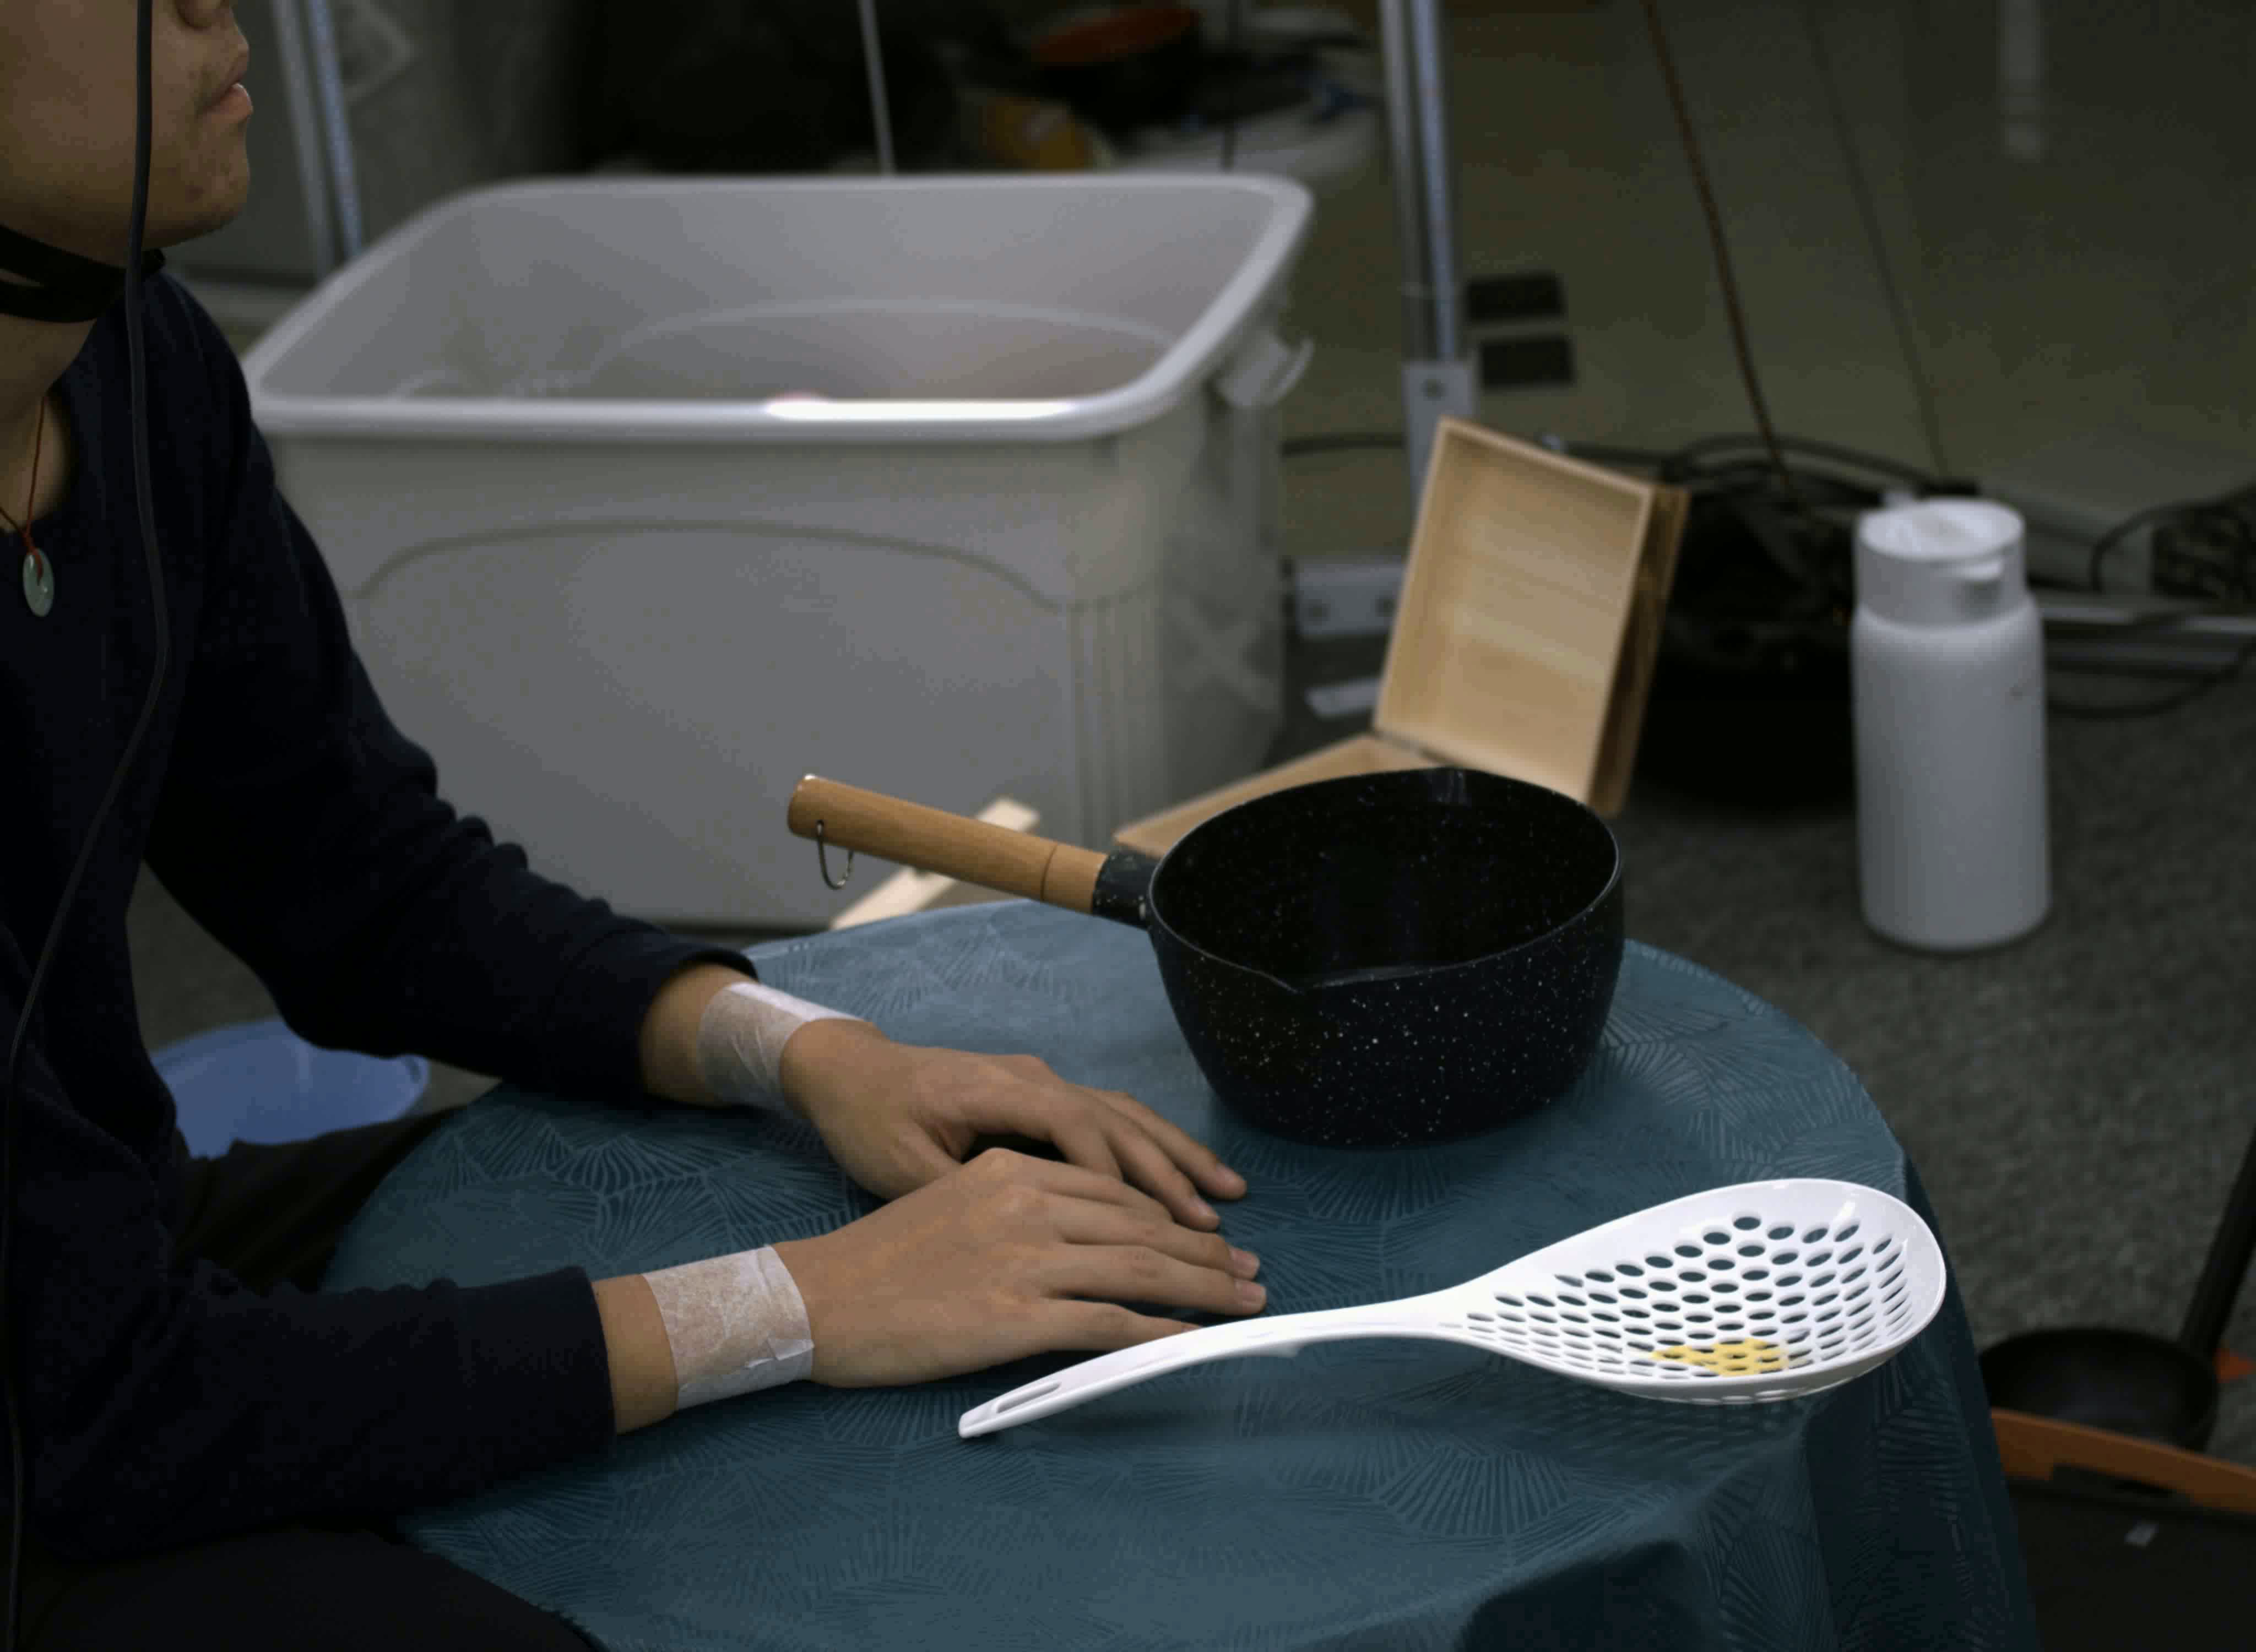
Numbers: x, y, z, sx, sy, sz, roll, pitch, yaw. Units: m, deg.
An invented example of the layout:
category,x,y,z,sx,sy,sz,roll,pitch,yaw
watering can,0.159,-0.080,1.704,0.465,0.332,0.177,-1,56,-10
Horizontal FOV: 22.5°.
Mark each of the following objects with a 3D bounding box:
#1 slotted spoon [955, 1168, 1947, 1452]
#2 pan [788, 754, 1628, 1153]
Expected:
category,x,y,z,sx,sy,sz,roll,pitch,yaw
slotted spoon,0.111,0.180,1.980,0.347,0.051,0.135,-4,26,2
pan,0.028,0.040,2.223,0.342,0.110,0.204,4,28,19
